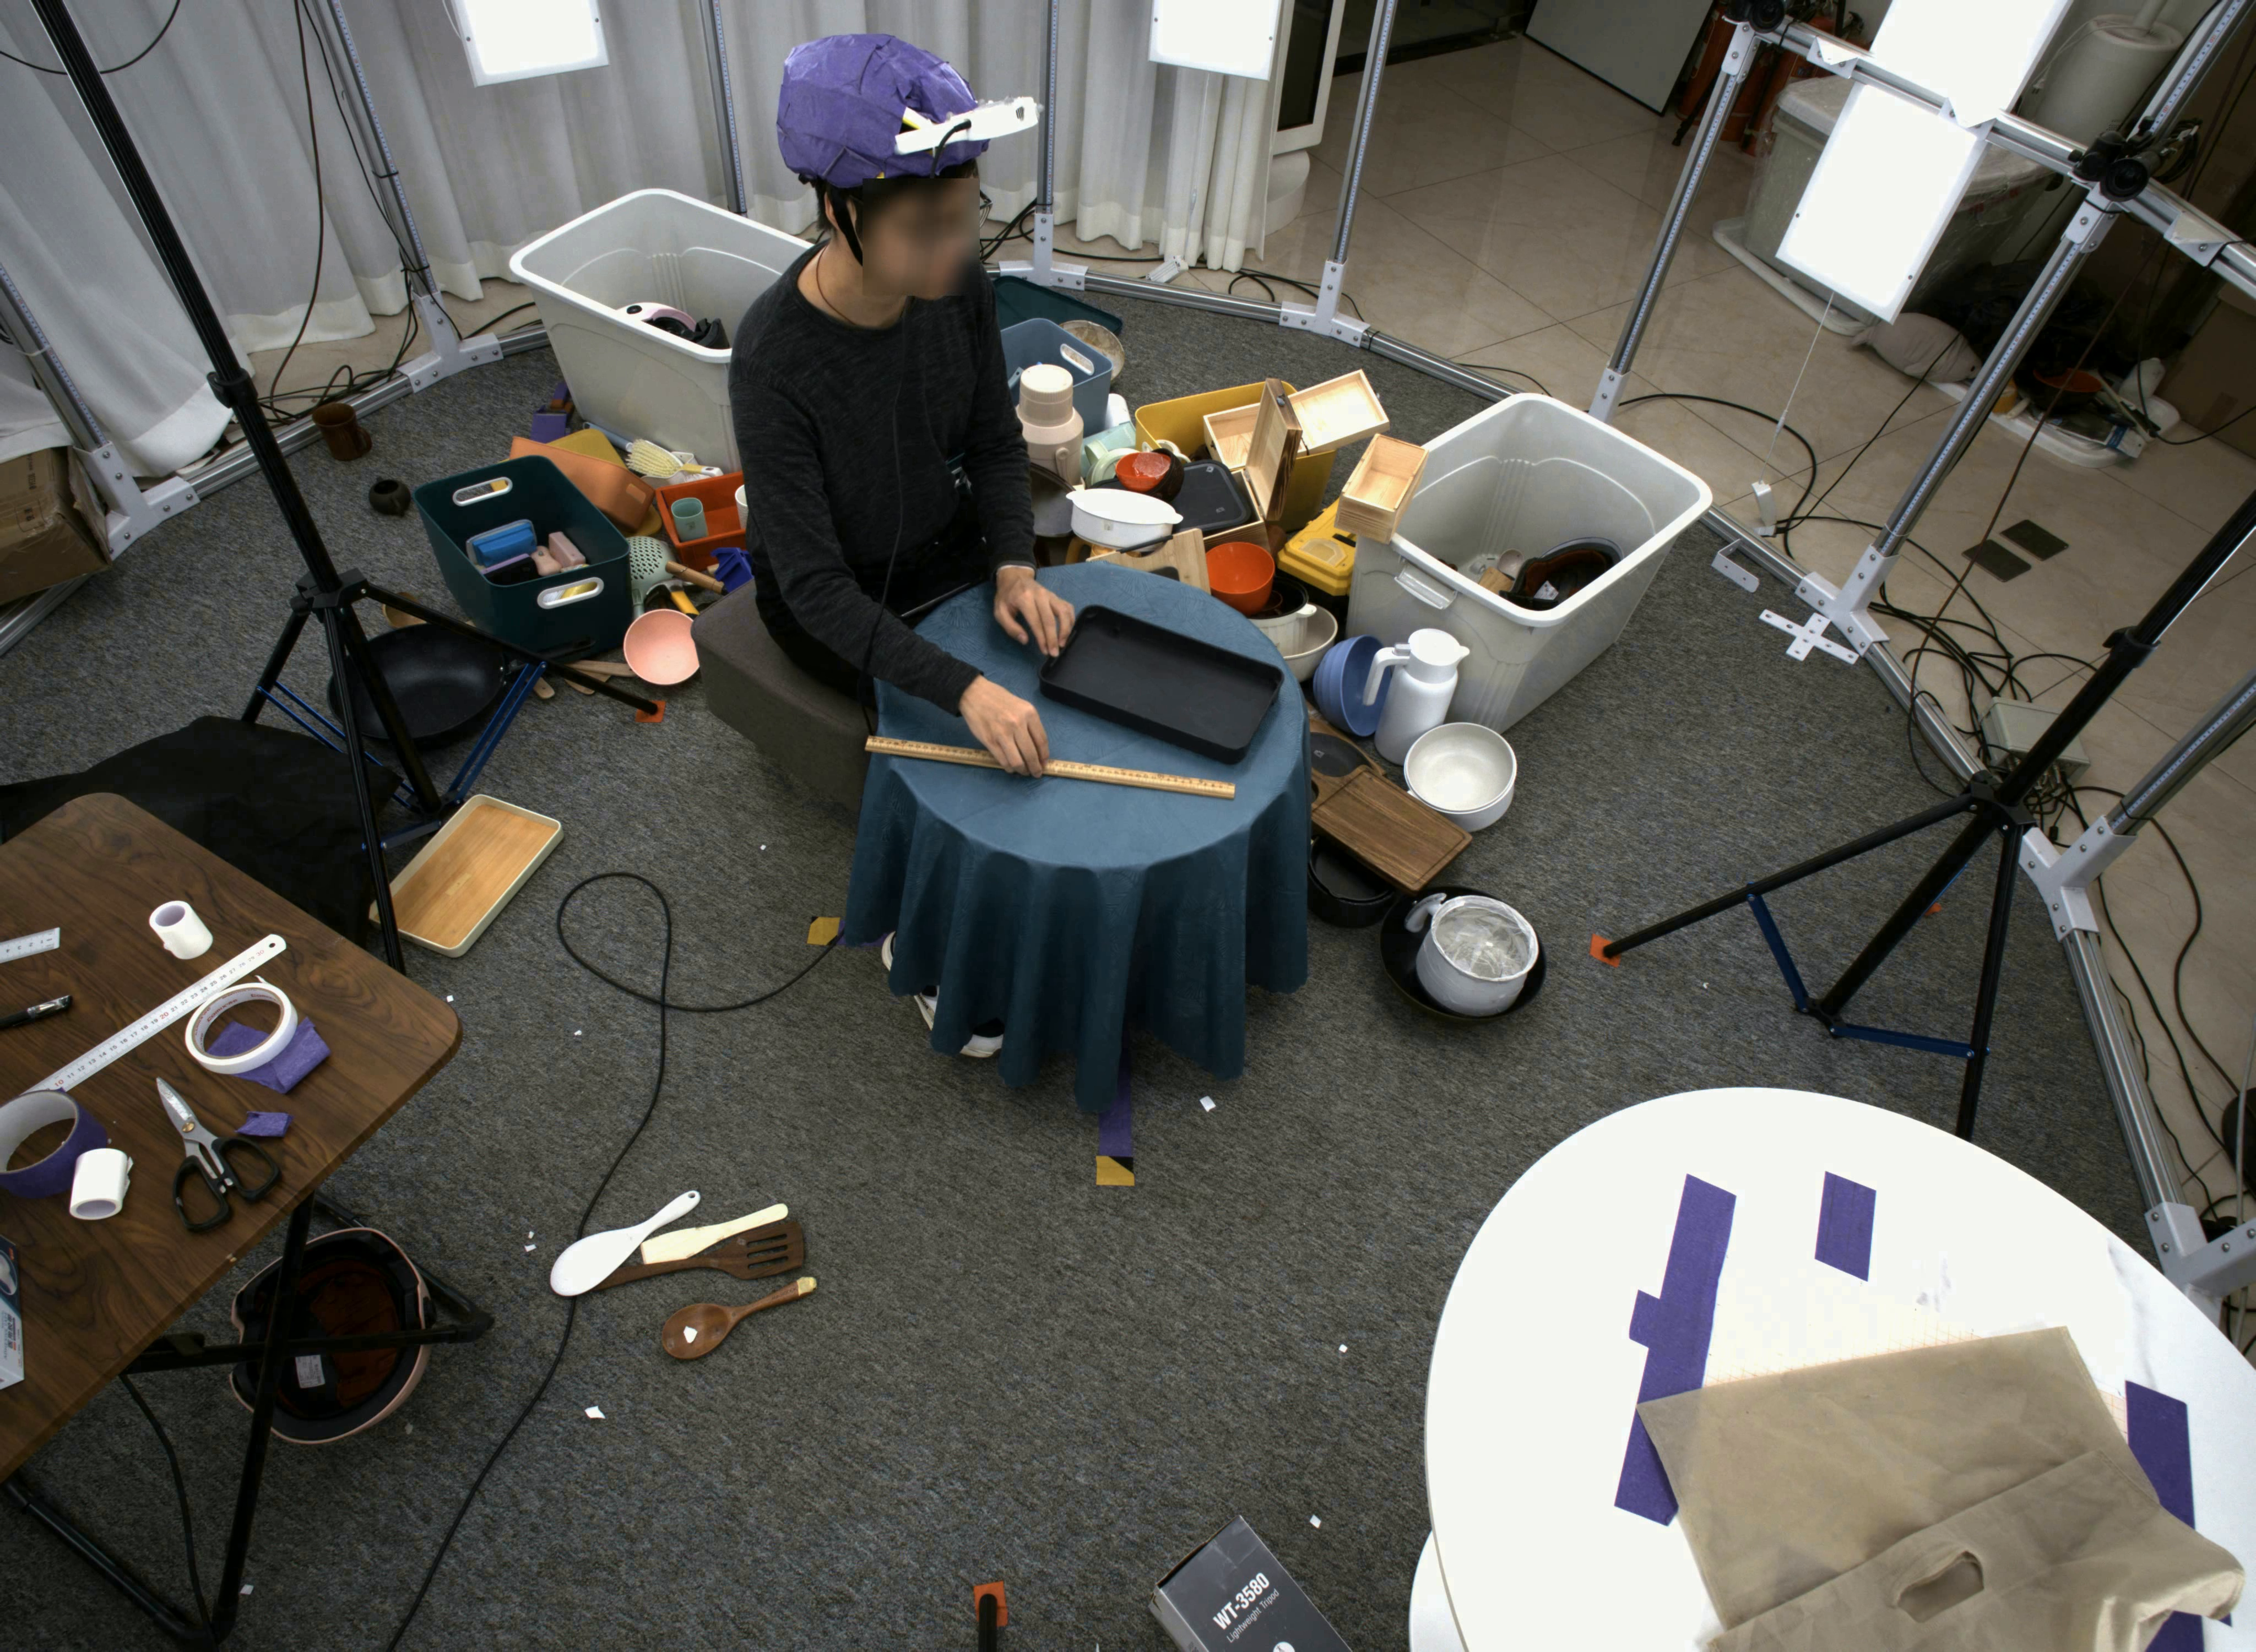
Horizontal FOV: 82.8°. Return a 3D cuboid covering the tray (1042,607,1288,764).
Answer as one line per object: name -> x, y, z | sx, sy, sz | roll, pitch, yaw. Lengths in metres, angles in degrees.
tray -> 0.053, -0.204, 1.827 | 0.320, 0.036, 0.188 | 20, 51, 14

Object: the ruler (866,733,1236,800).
ruler -> -0.103, -0.081, 1.725 | 0.500, 0.006, 0.027 | 8, 55, 2
